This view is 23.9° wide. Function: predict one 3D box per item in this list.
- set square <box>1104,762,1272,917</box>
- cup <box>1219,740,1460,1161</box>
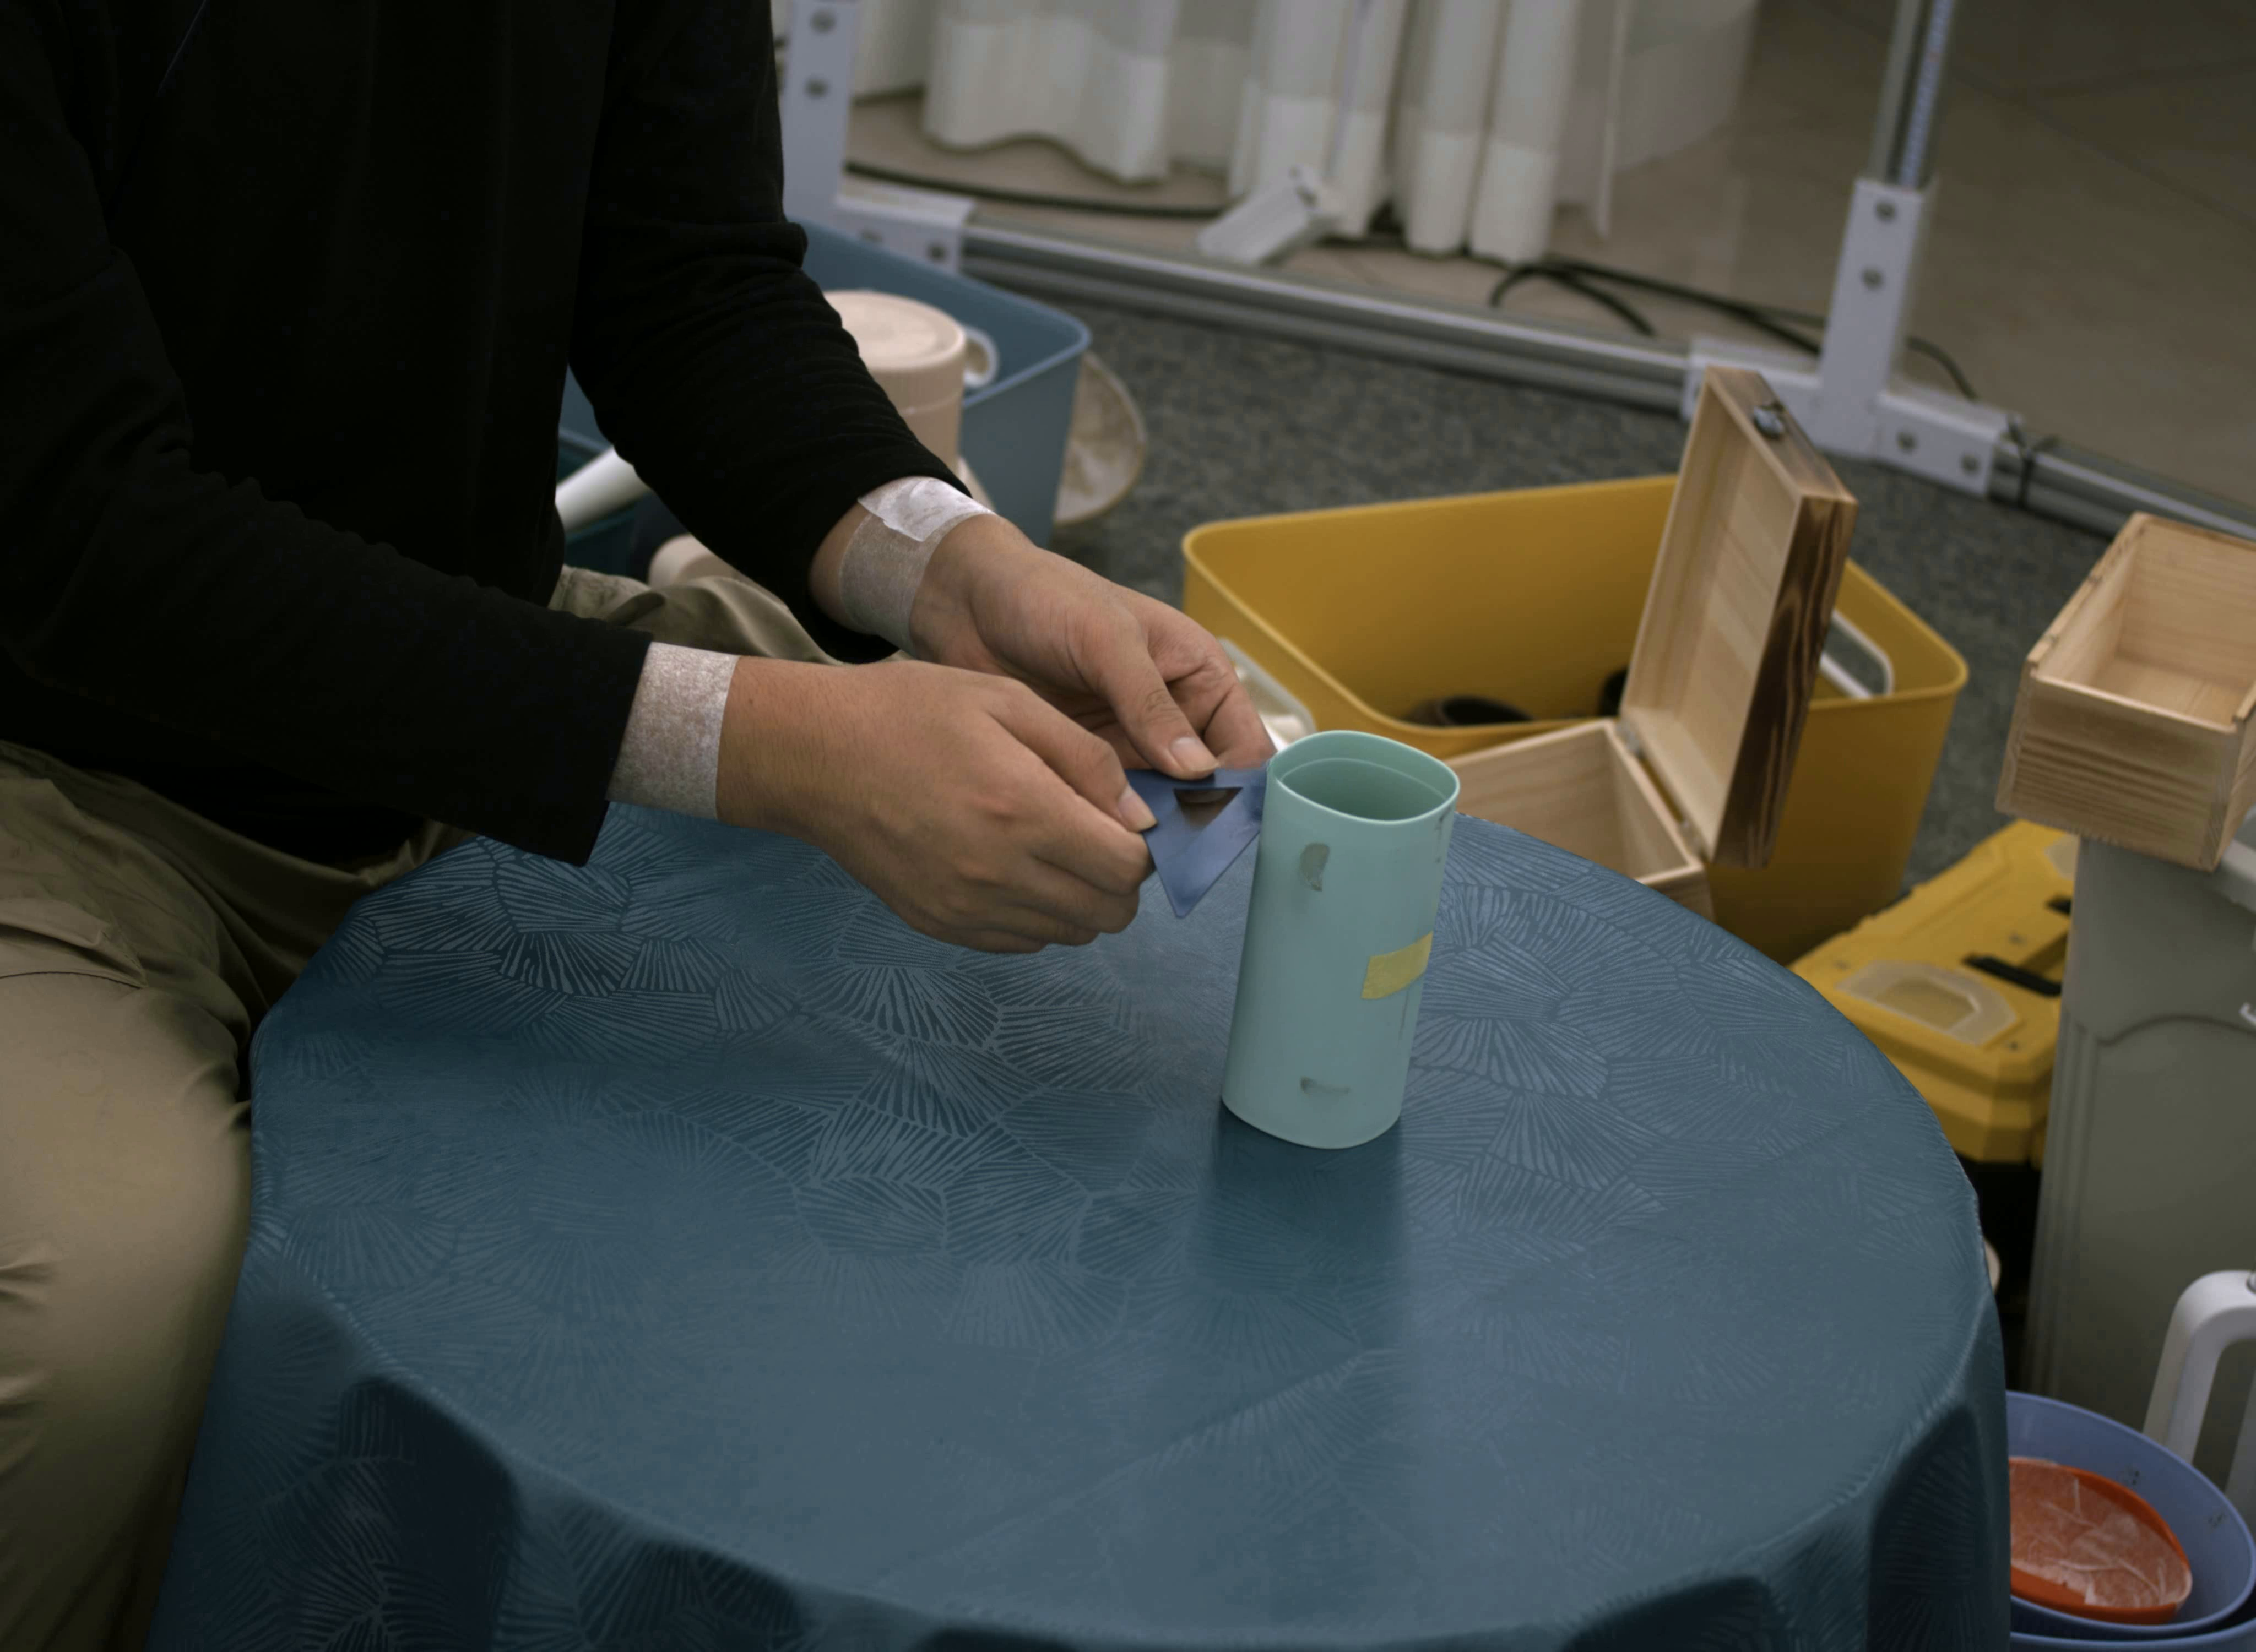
[{"bbox_3d":[0.004,-0.001,1.818,0.061,0.006,0.132,15,27,20],"label":"set square"},{"bbox_3d":[0.071,0.042,1.840,0.066,0.132,0.067,6,28,-4],"label":"cup"}]
